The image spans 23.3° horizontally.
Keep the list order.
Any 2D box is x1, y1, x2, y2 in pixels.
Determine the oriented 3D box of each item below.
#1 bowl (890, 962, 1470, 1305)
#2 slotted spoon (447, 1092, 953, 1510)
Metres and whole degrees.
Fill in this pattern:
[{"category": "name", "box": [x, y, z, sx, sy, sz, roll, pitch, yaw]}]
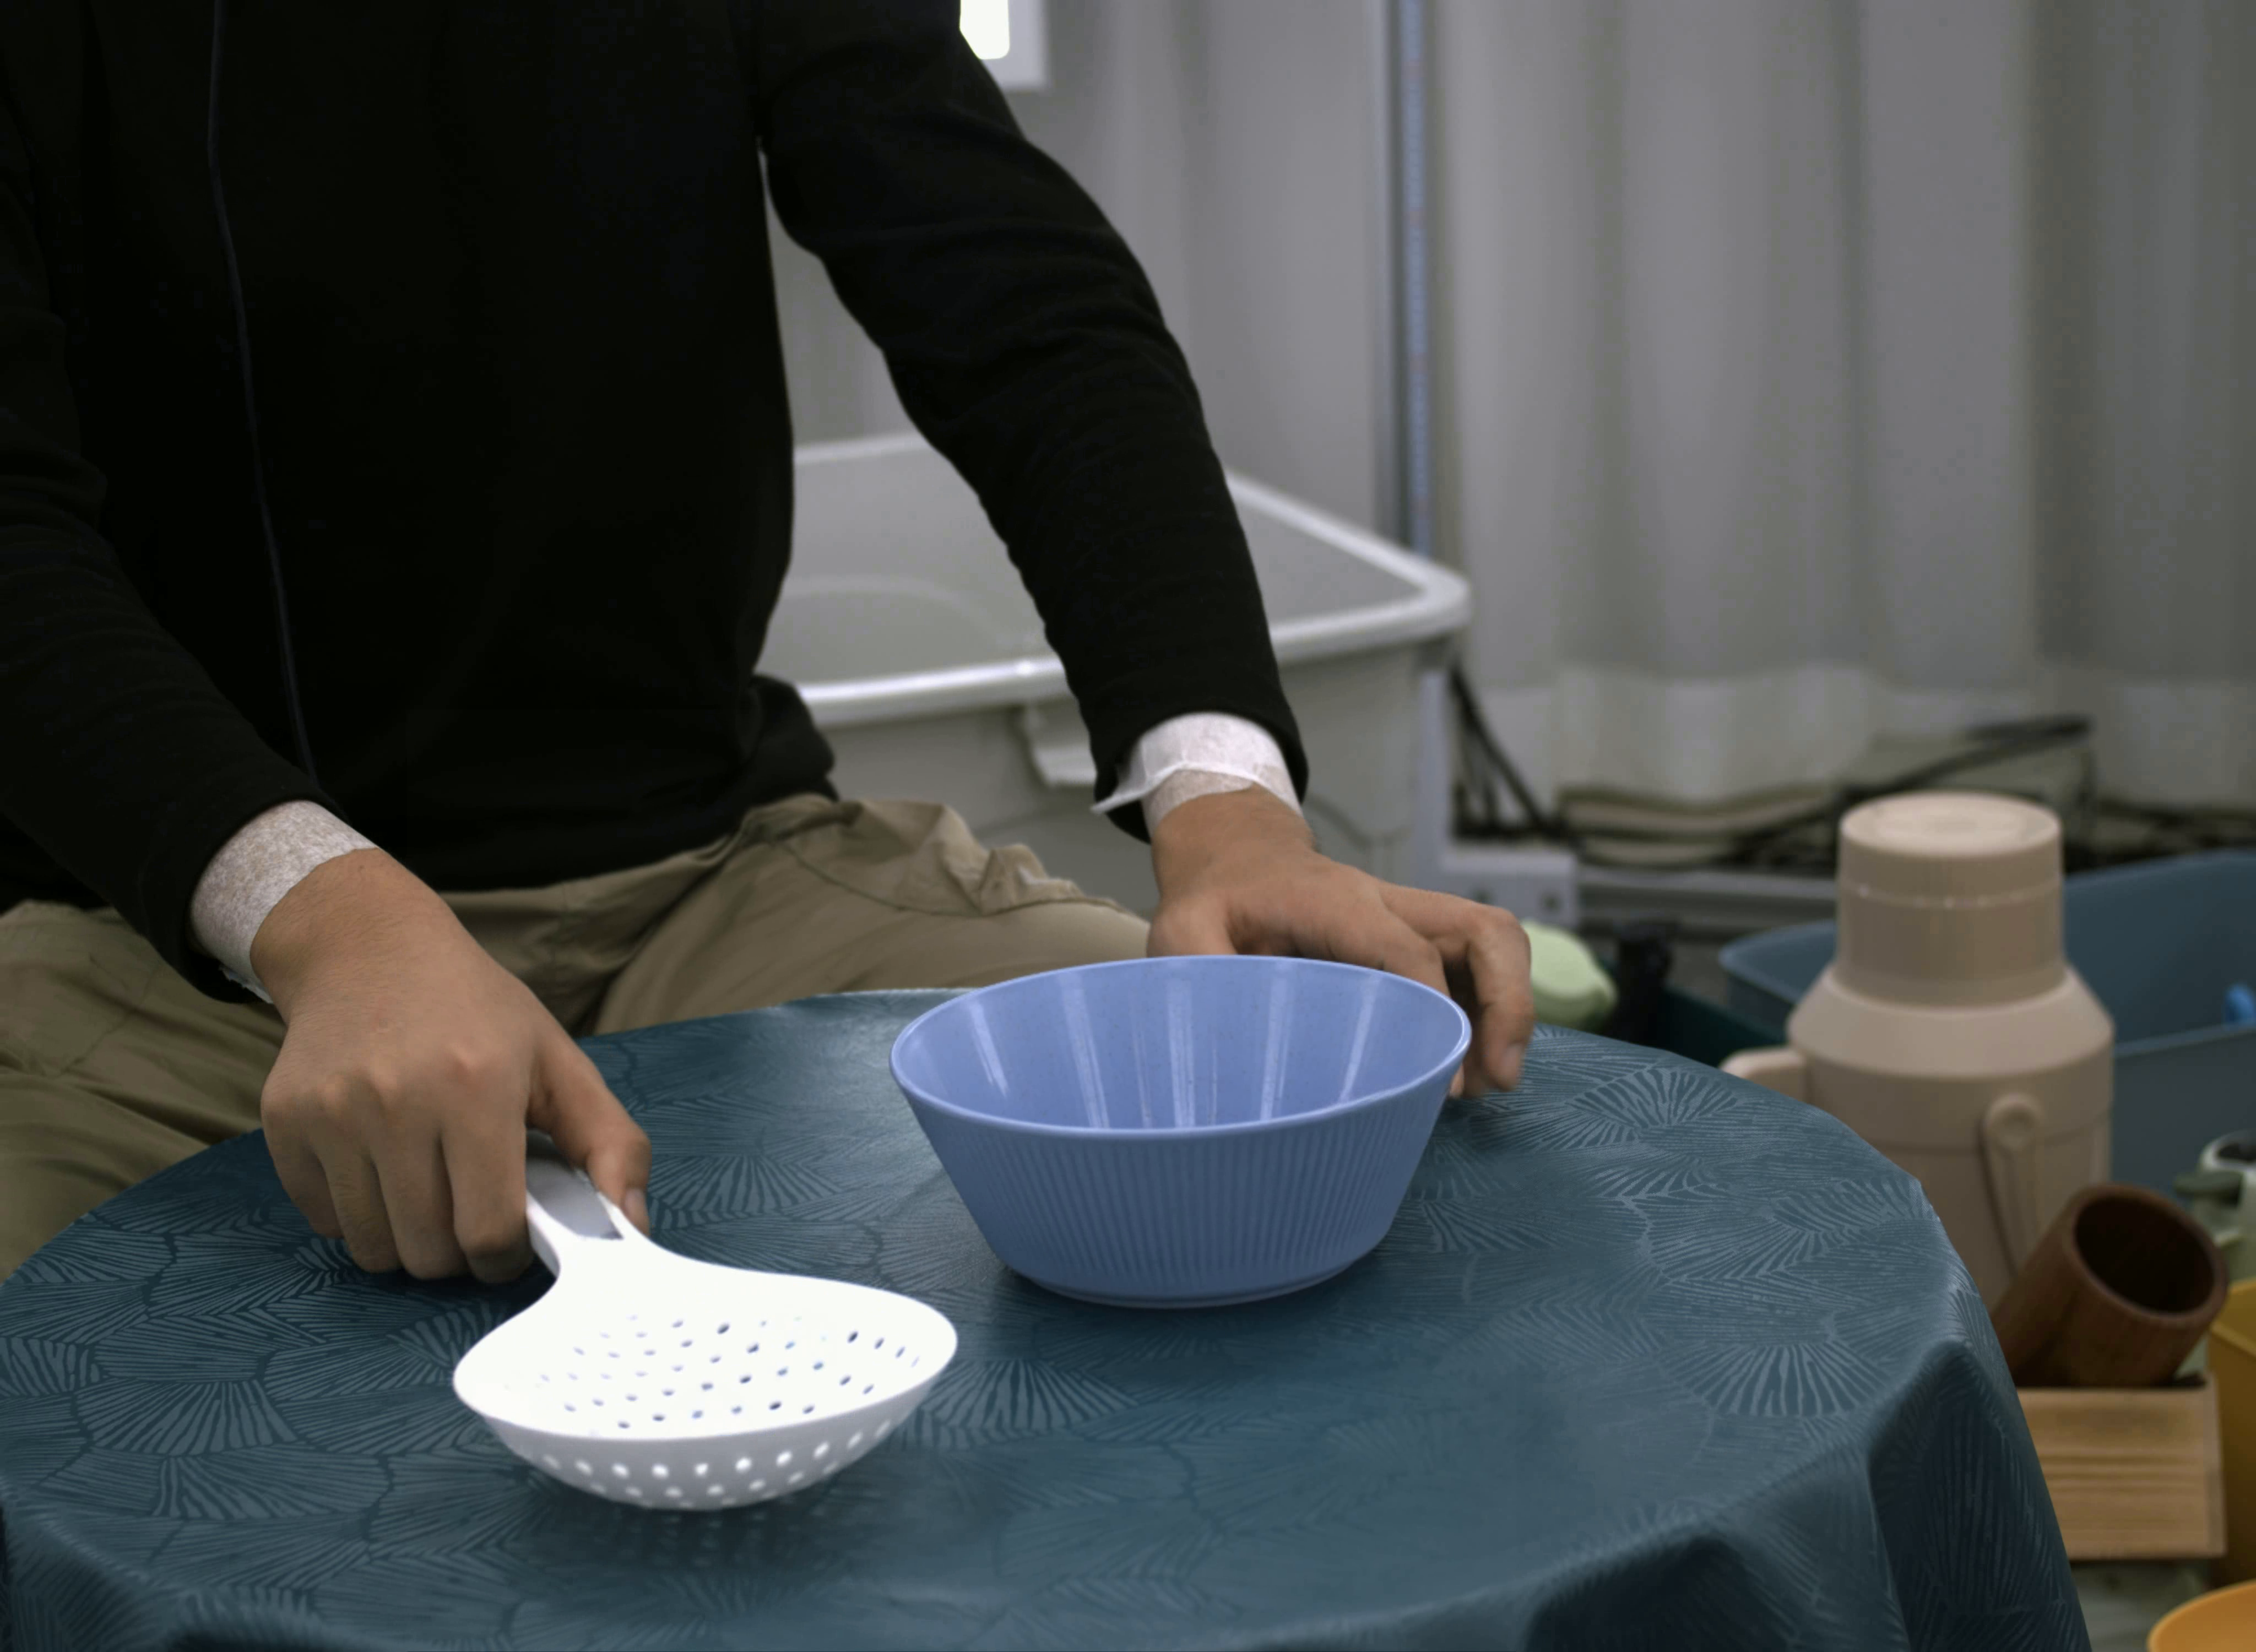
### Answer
[{"category": "bowl", "box": [0.017, 0.095, 1.651, 0.175, 0.070, 0.177, -3, 14, 1]}, {"category": "slotted spoon", "box": [-0.149, 0.128, 1.577, 0.135, 0.045, 0.353, -9, 19, -17]}]
